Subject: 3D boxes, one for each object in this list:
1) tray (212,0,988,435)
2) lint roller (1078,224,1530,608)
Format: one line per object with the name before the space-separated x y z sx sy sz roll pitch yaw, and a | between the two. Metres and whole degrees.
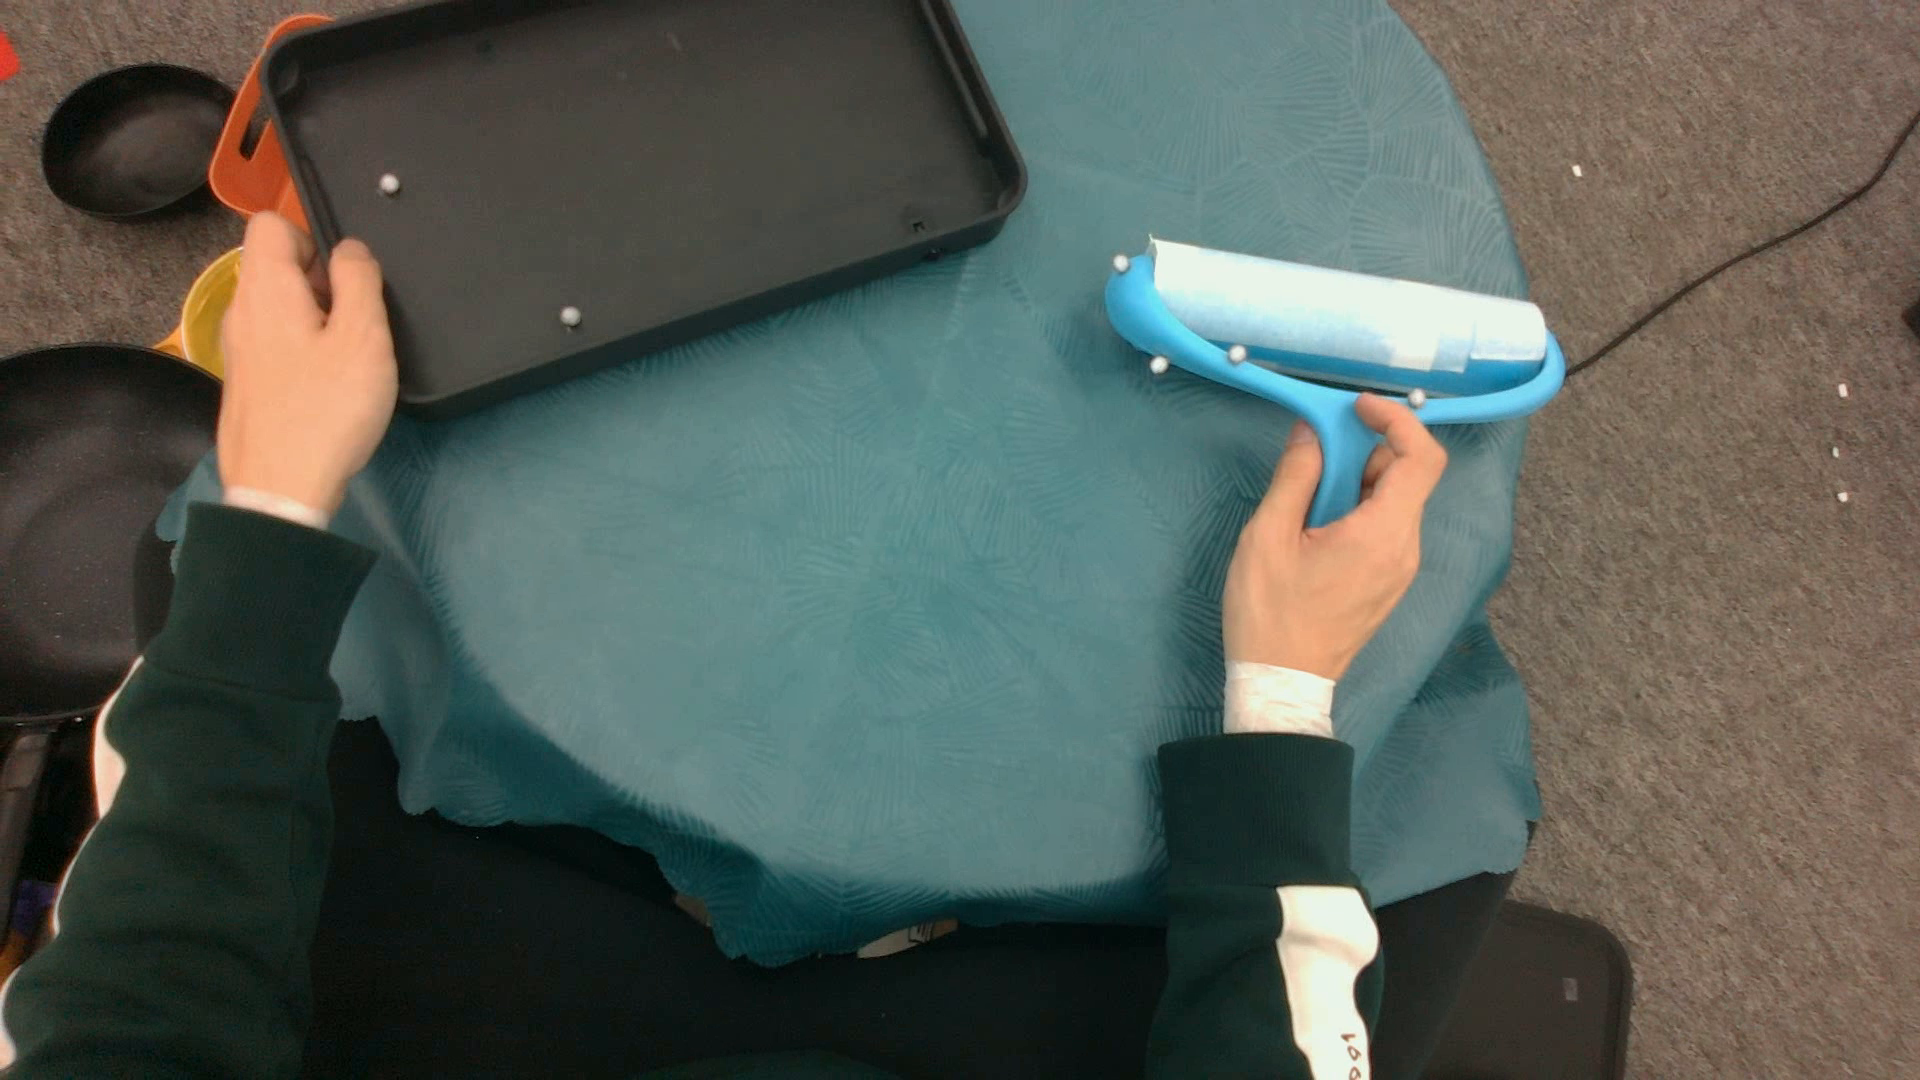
tray | -0.160 -0.184 0.655 0.319 0.037 0.184 -25 82 -18
lint roller | 0.169 -0.060 0.668 0.229 0.067 0.180 4 75 -9
